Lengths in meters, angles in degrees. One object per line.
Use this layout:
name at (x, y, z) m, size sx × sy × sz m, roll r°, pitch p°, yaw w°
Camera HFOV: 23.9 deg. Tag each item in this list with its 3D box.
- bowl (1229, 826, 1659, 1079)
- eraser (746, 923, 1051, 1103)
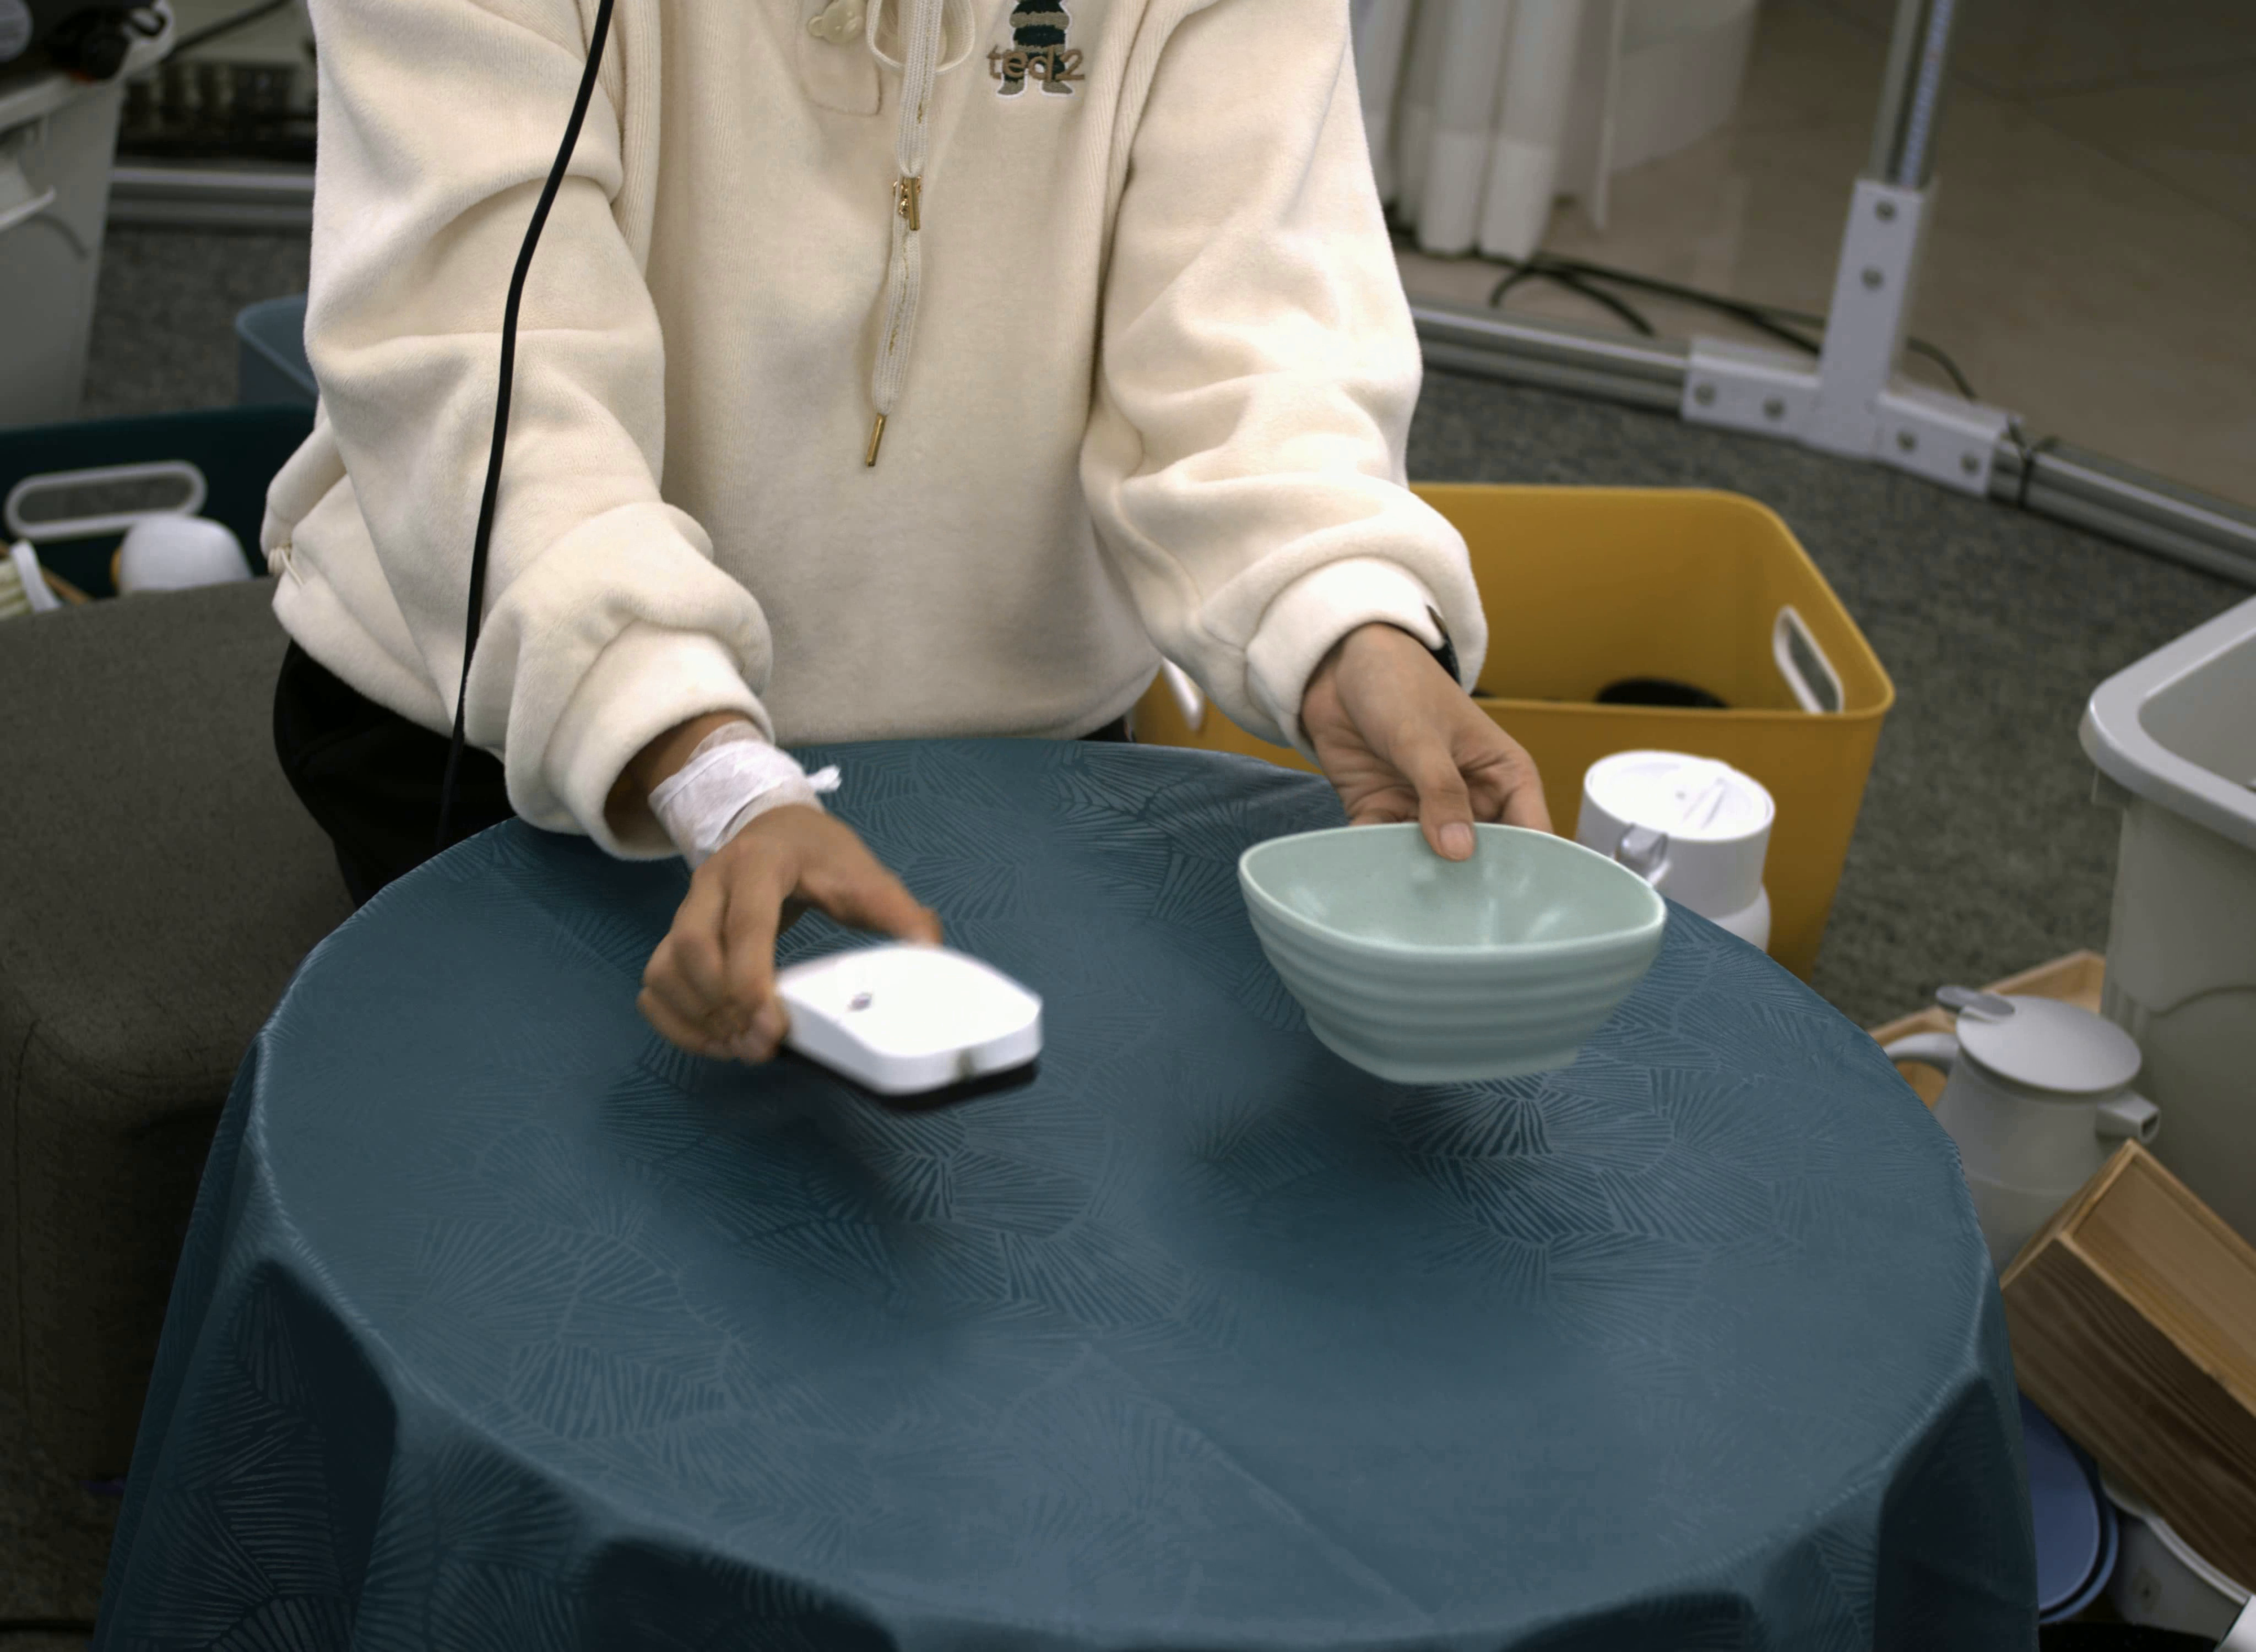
bowl at (0.106, 0.047, 1.832) m, size 0.151 × 0.058 × 0.152 m, roll 4°, pitch 15°, yaw -1°
eraser at (-0.075, 0.059, 1.769) m, size 0.063 × 0.034 × 0.132 m, roll -14°, pitch 16°, yaw -26°
